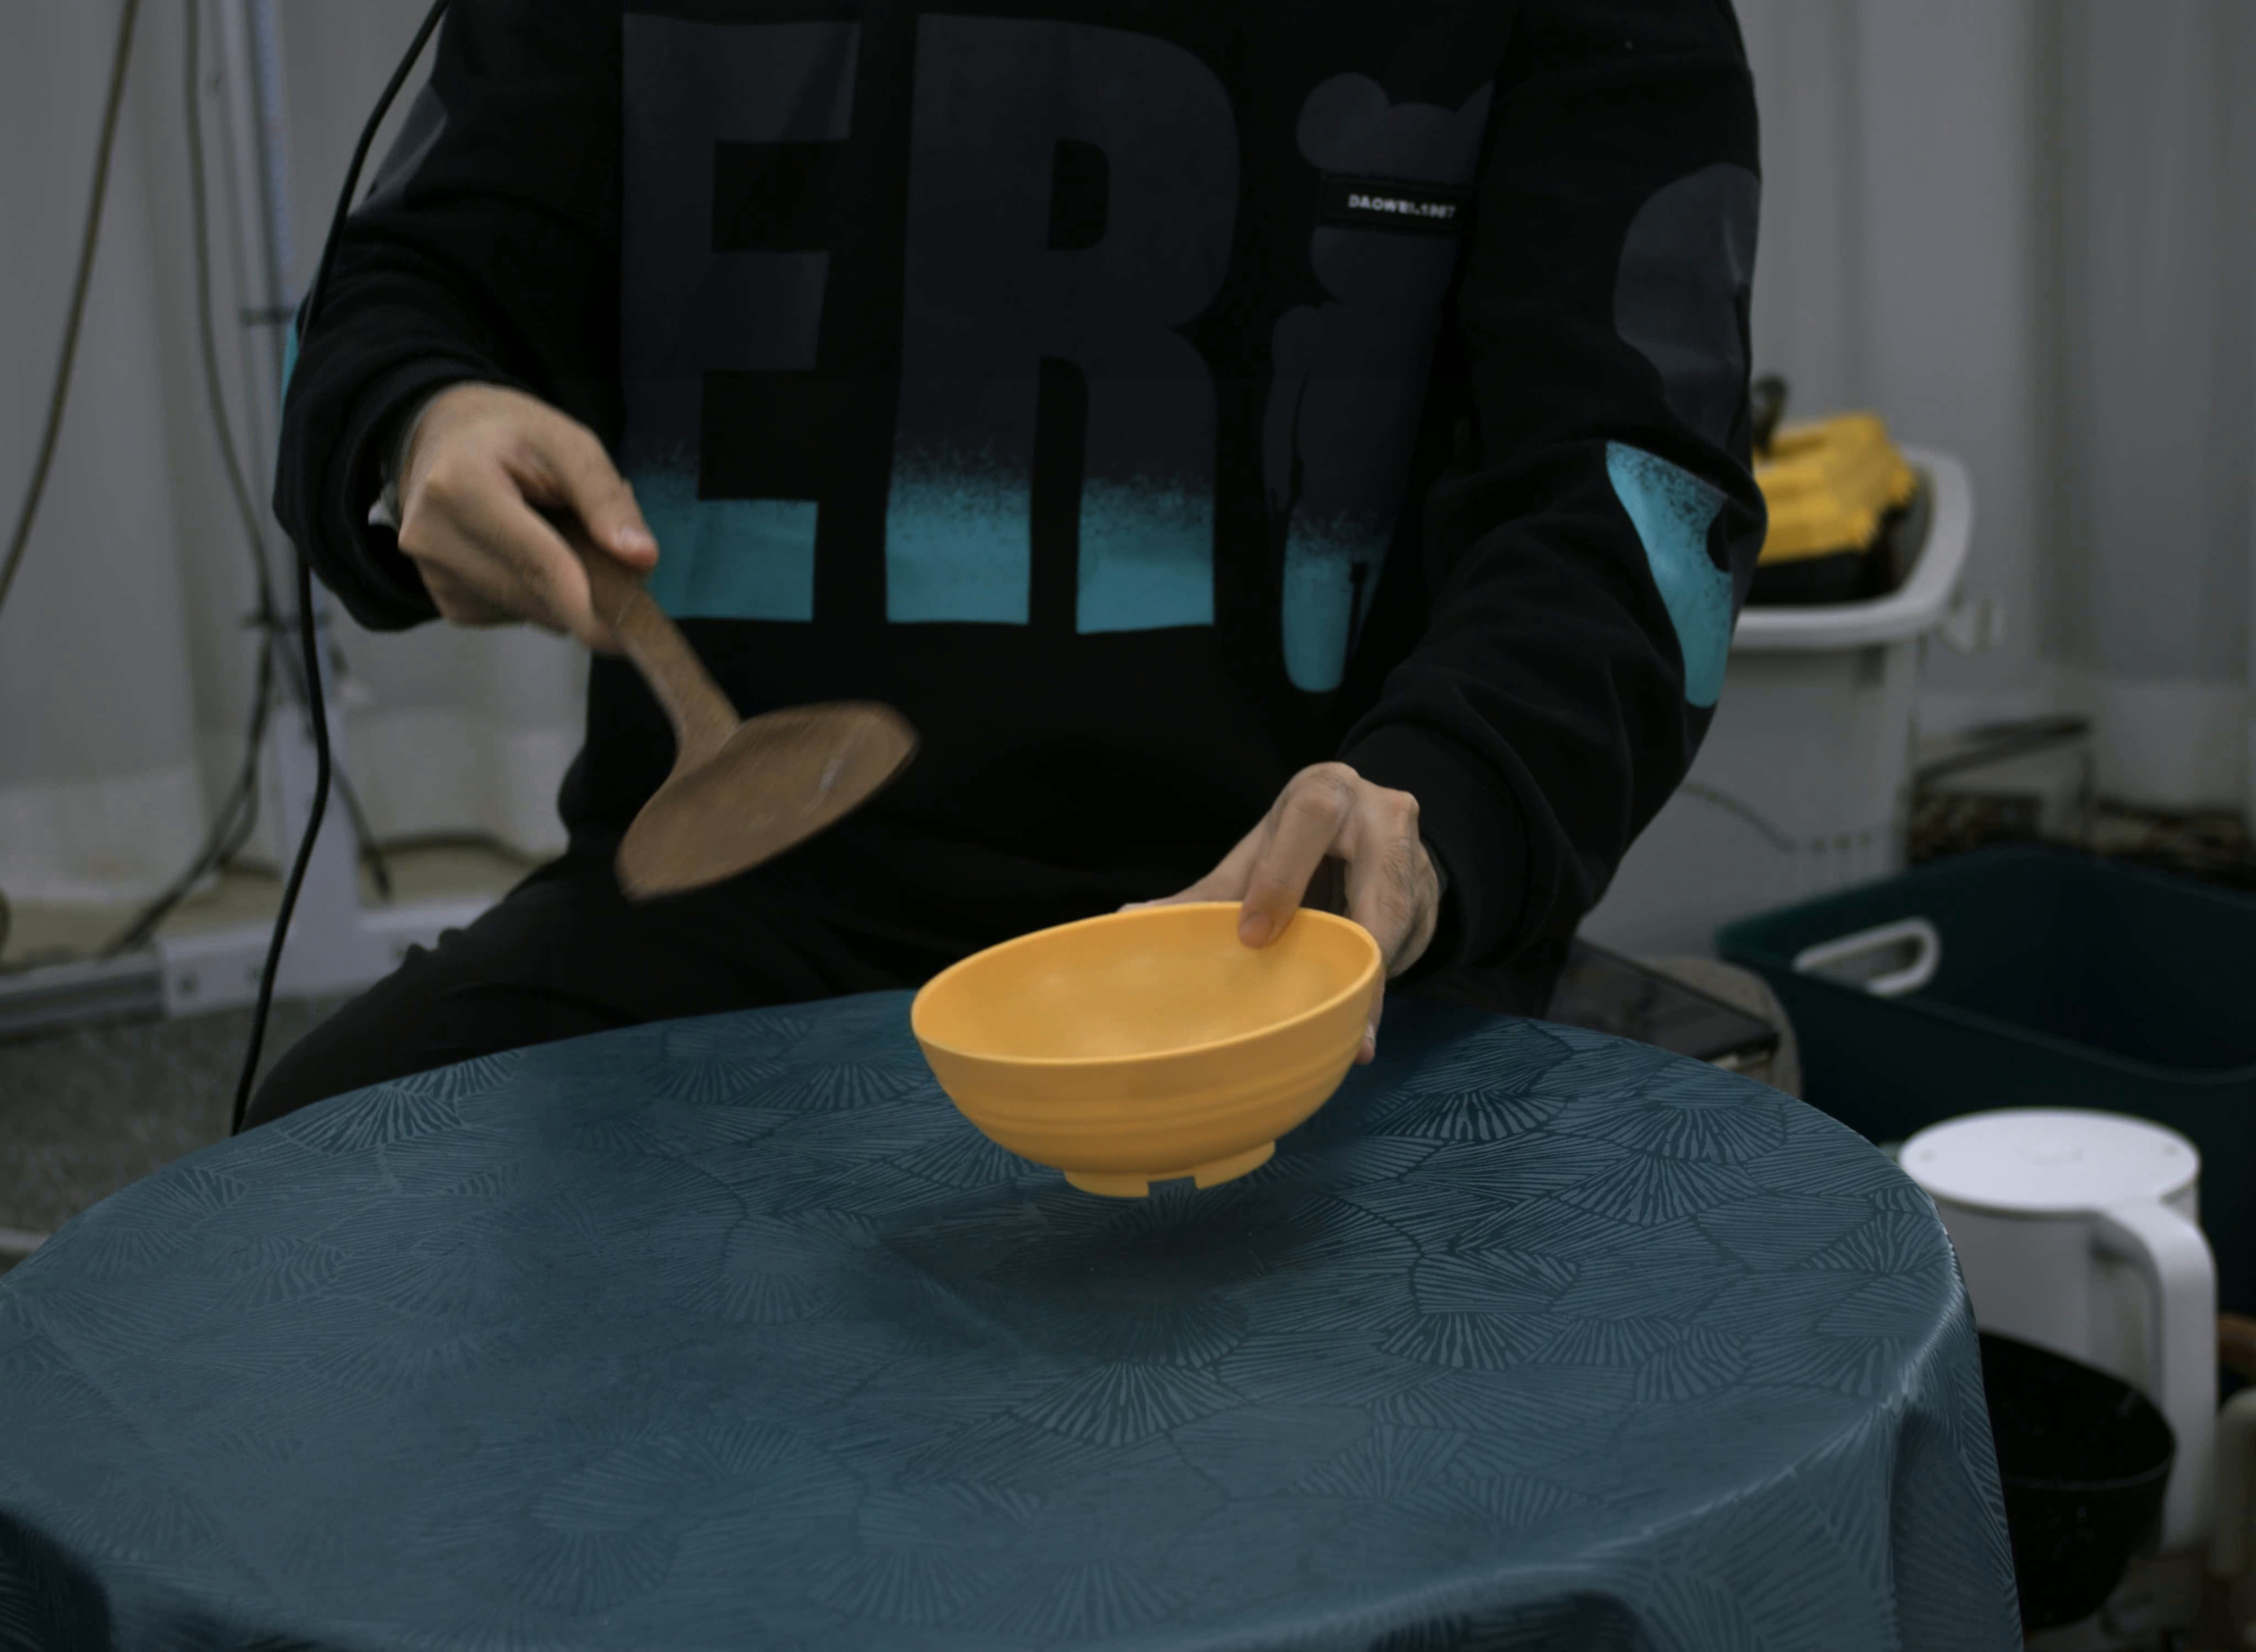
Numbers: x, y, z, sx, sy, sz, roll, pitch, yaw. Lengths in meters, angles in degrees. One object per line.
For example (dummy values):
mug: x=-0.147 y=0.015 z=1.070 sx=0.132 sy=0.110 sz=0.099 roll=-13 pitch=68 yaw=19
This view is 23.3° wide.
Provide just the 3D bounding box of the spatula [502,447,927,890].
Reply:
spatula: x=-0.150 y=-0.062 z=1.739 sx=0.096 sy=0.015 sz=0.390 roll=-30 pitch=27 yaw=-6

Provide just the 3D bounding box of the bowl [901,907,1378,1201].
bowl: x=0.005 y=0.074 z=1.657 sx=0.145 sy=0.060 sz=0.146 roll=-4 pitch=16 yaw=1
